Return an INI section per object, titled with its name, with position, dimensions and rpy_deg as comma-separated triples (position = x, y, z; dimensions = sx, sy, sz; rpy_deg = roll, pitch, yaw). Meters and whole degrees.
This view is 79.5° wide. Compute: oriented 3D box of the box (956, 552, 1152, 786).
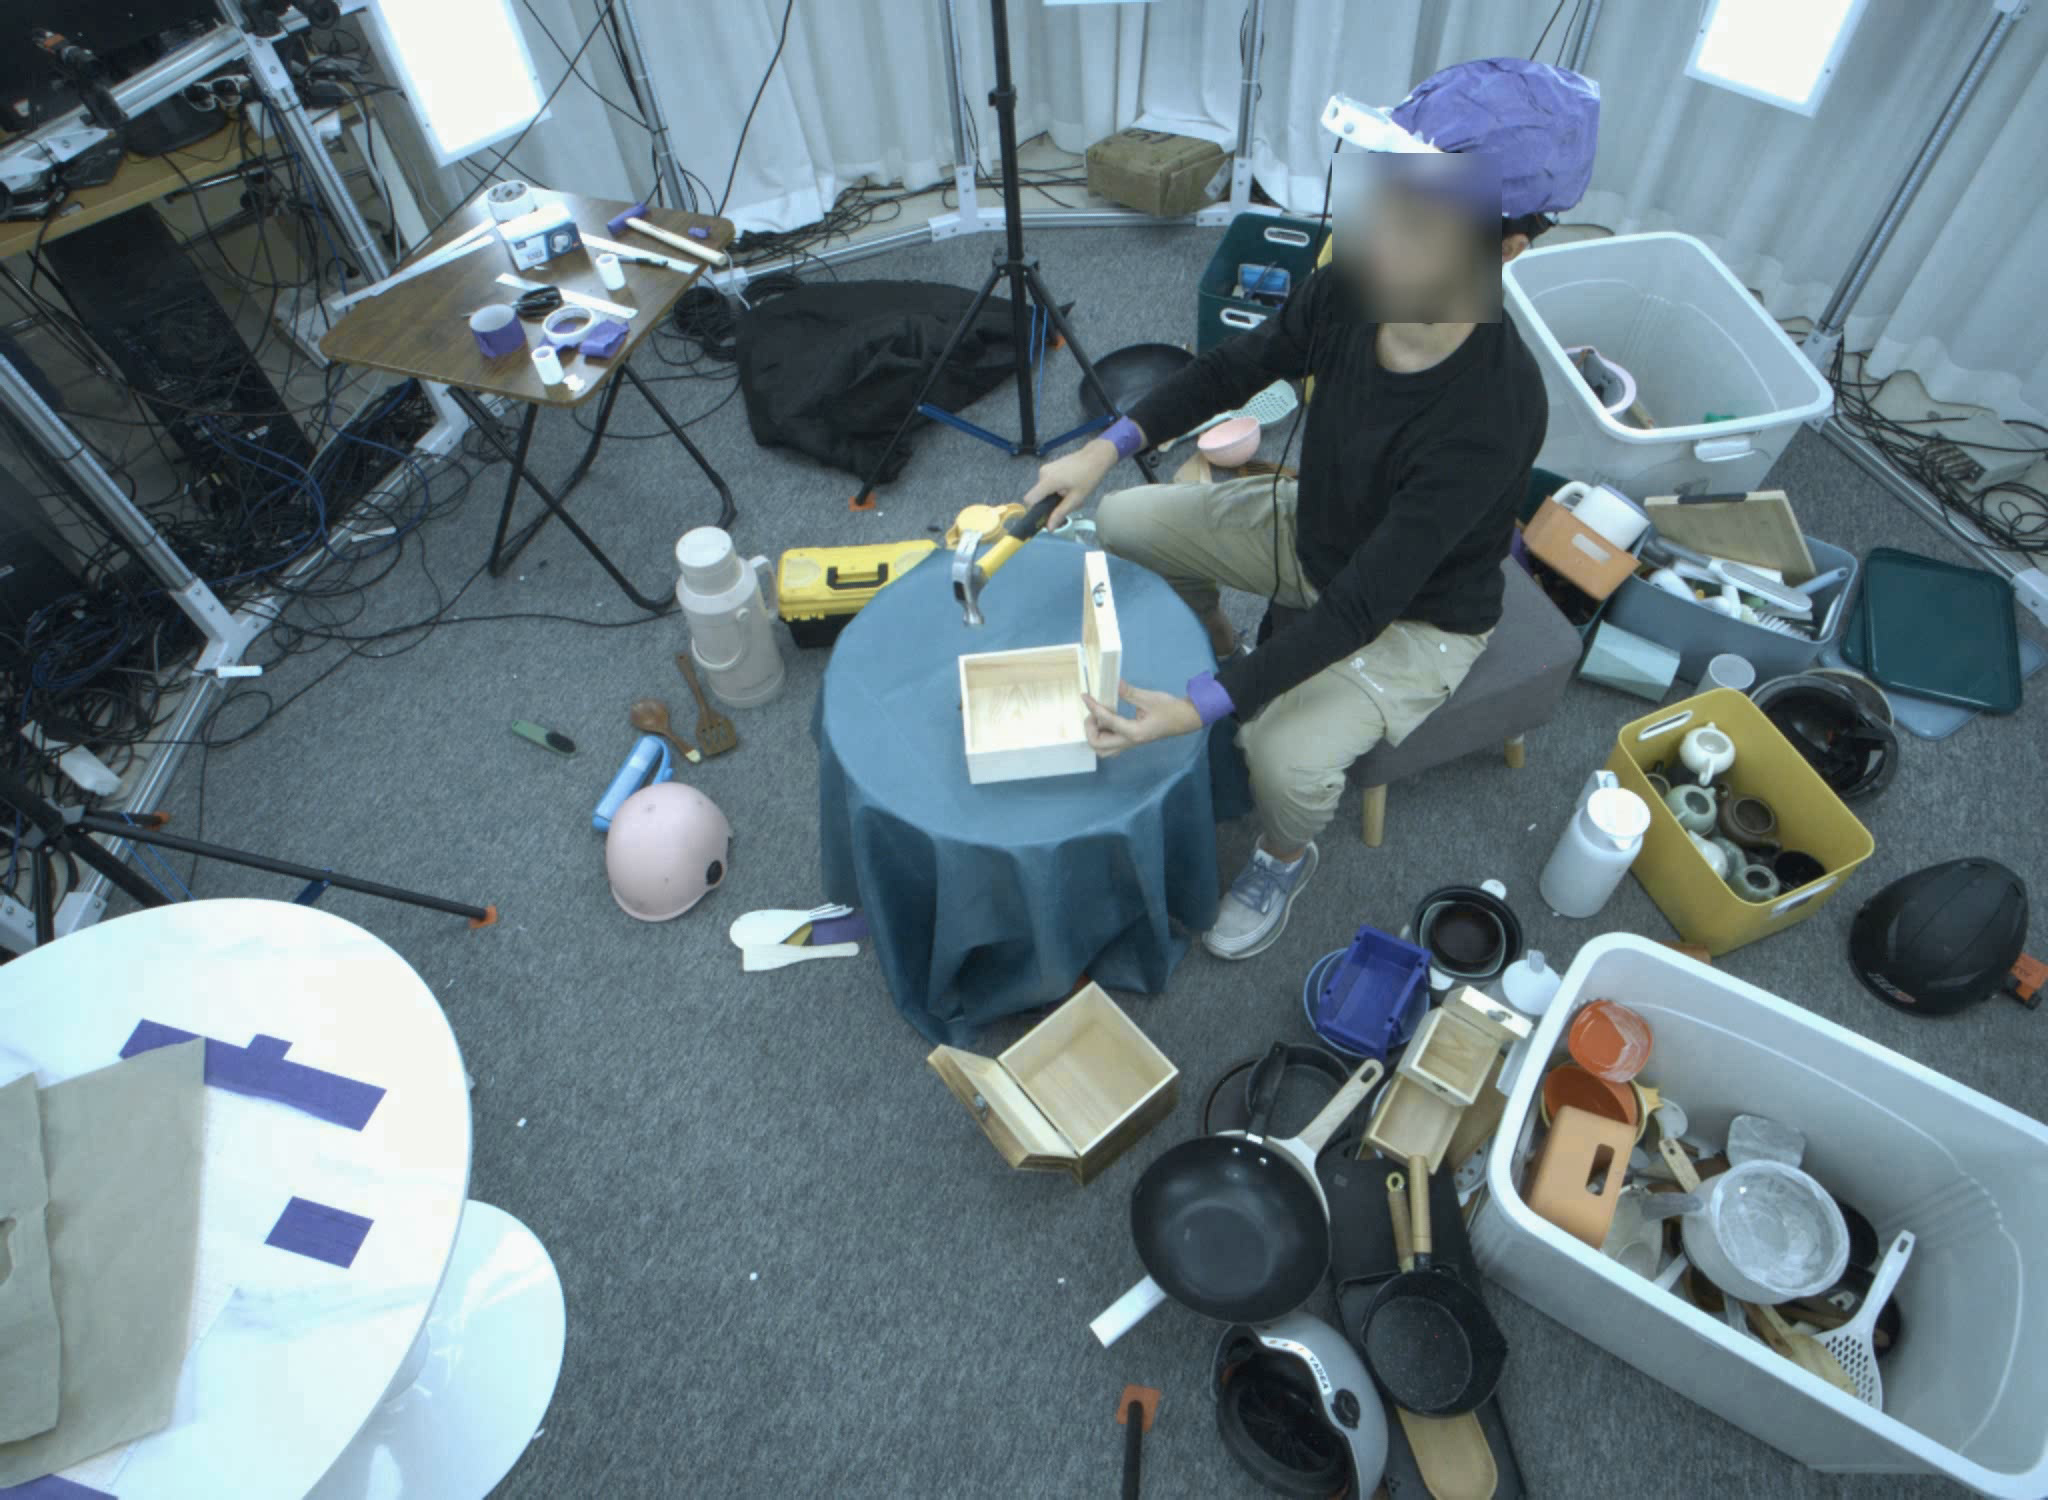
[box]
position = 0.031, -0.110, 1.707
dimensions = 0.266, 0.256, 0.179
rpy_deg = -7, 52, -2

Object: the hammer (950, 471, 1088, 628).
[hammer]
position = -0.001, -0.322, 1.808
dimensions = 0.031, 0.133, 0.340
rpy_deg = 17, 46, 30
